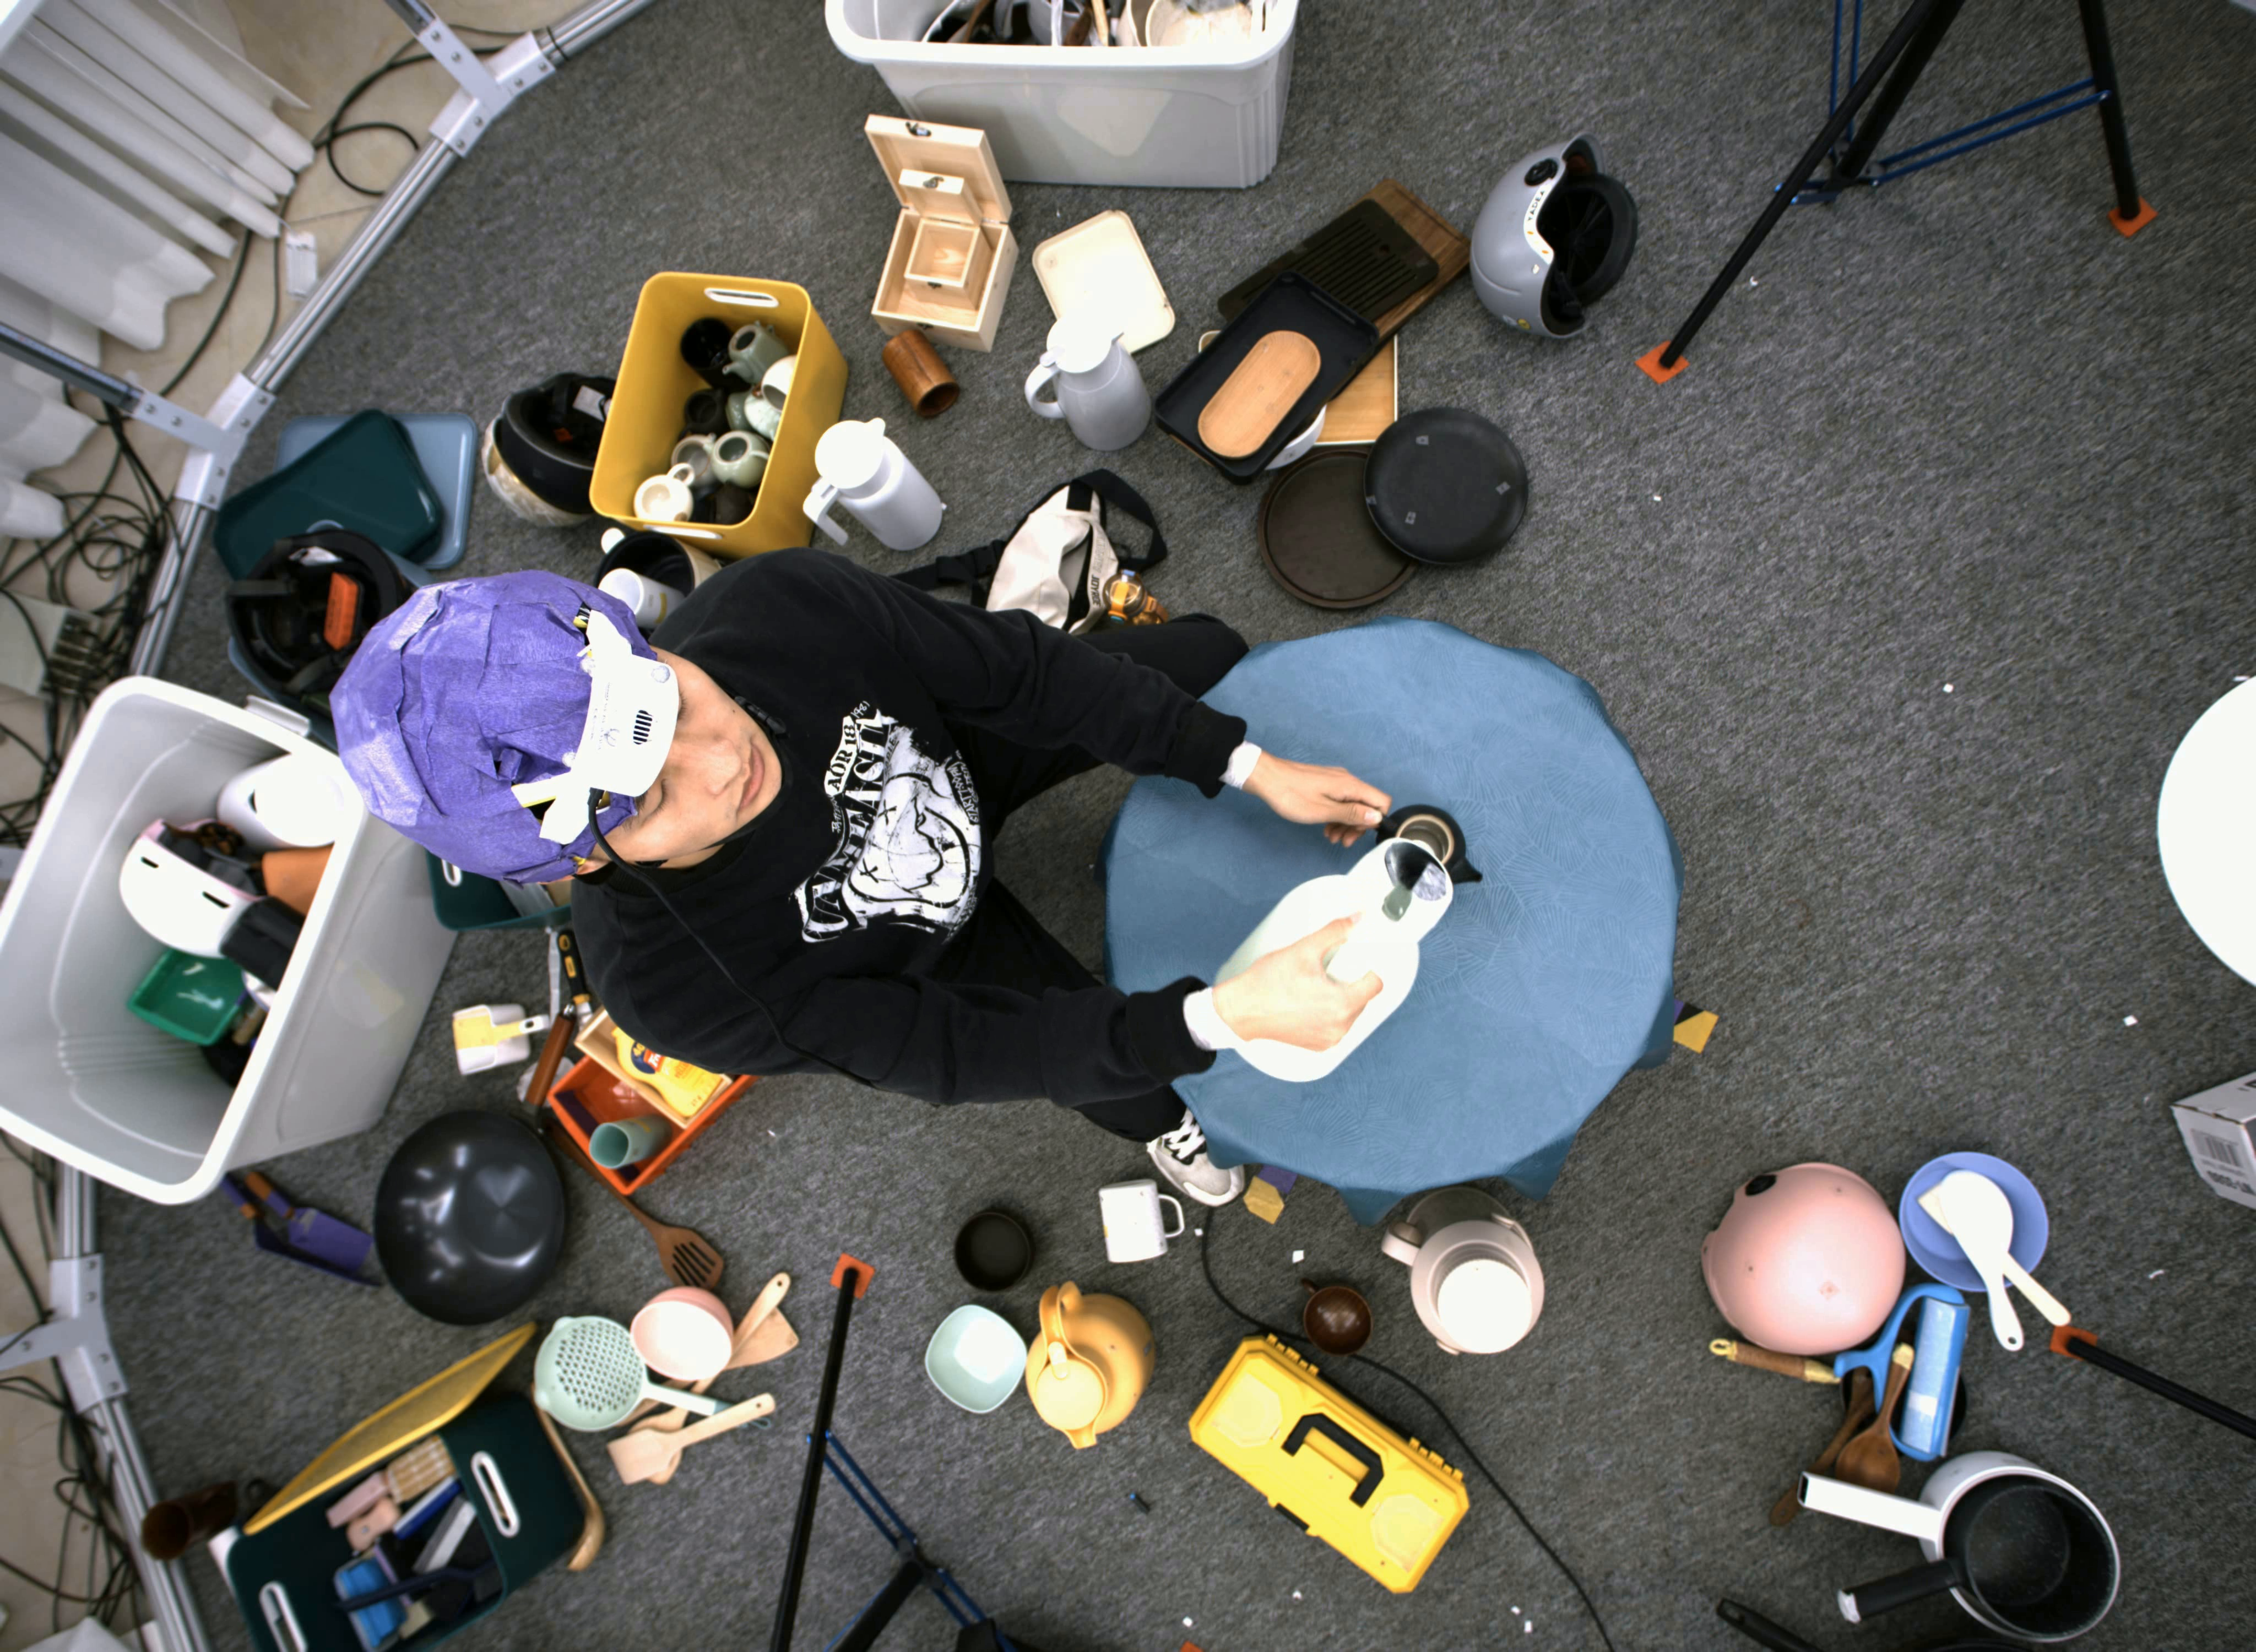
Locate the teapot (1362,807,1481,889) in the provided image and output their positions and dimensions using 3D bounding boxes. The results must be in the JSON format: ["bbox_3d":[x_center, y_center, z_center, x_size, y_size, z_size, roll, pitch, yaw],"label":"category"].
[{"bbox_3d":[0.292,0.023,1.382,0.133,0.053,0.090,32,84,9],"label":"teapot"}]

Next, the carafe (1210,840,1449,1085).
[{"bbox_3d":[0.183,0.124,1.247,0.144,0.182,0.263,37,136,3],"label":"carafe"}]
